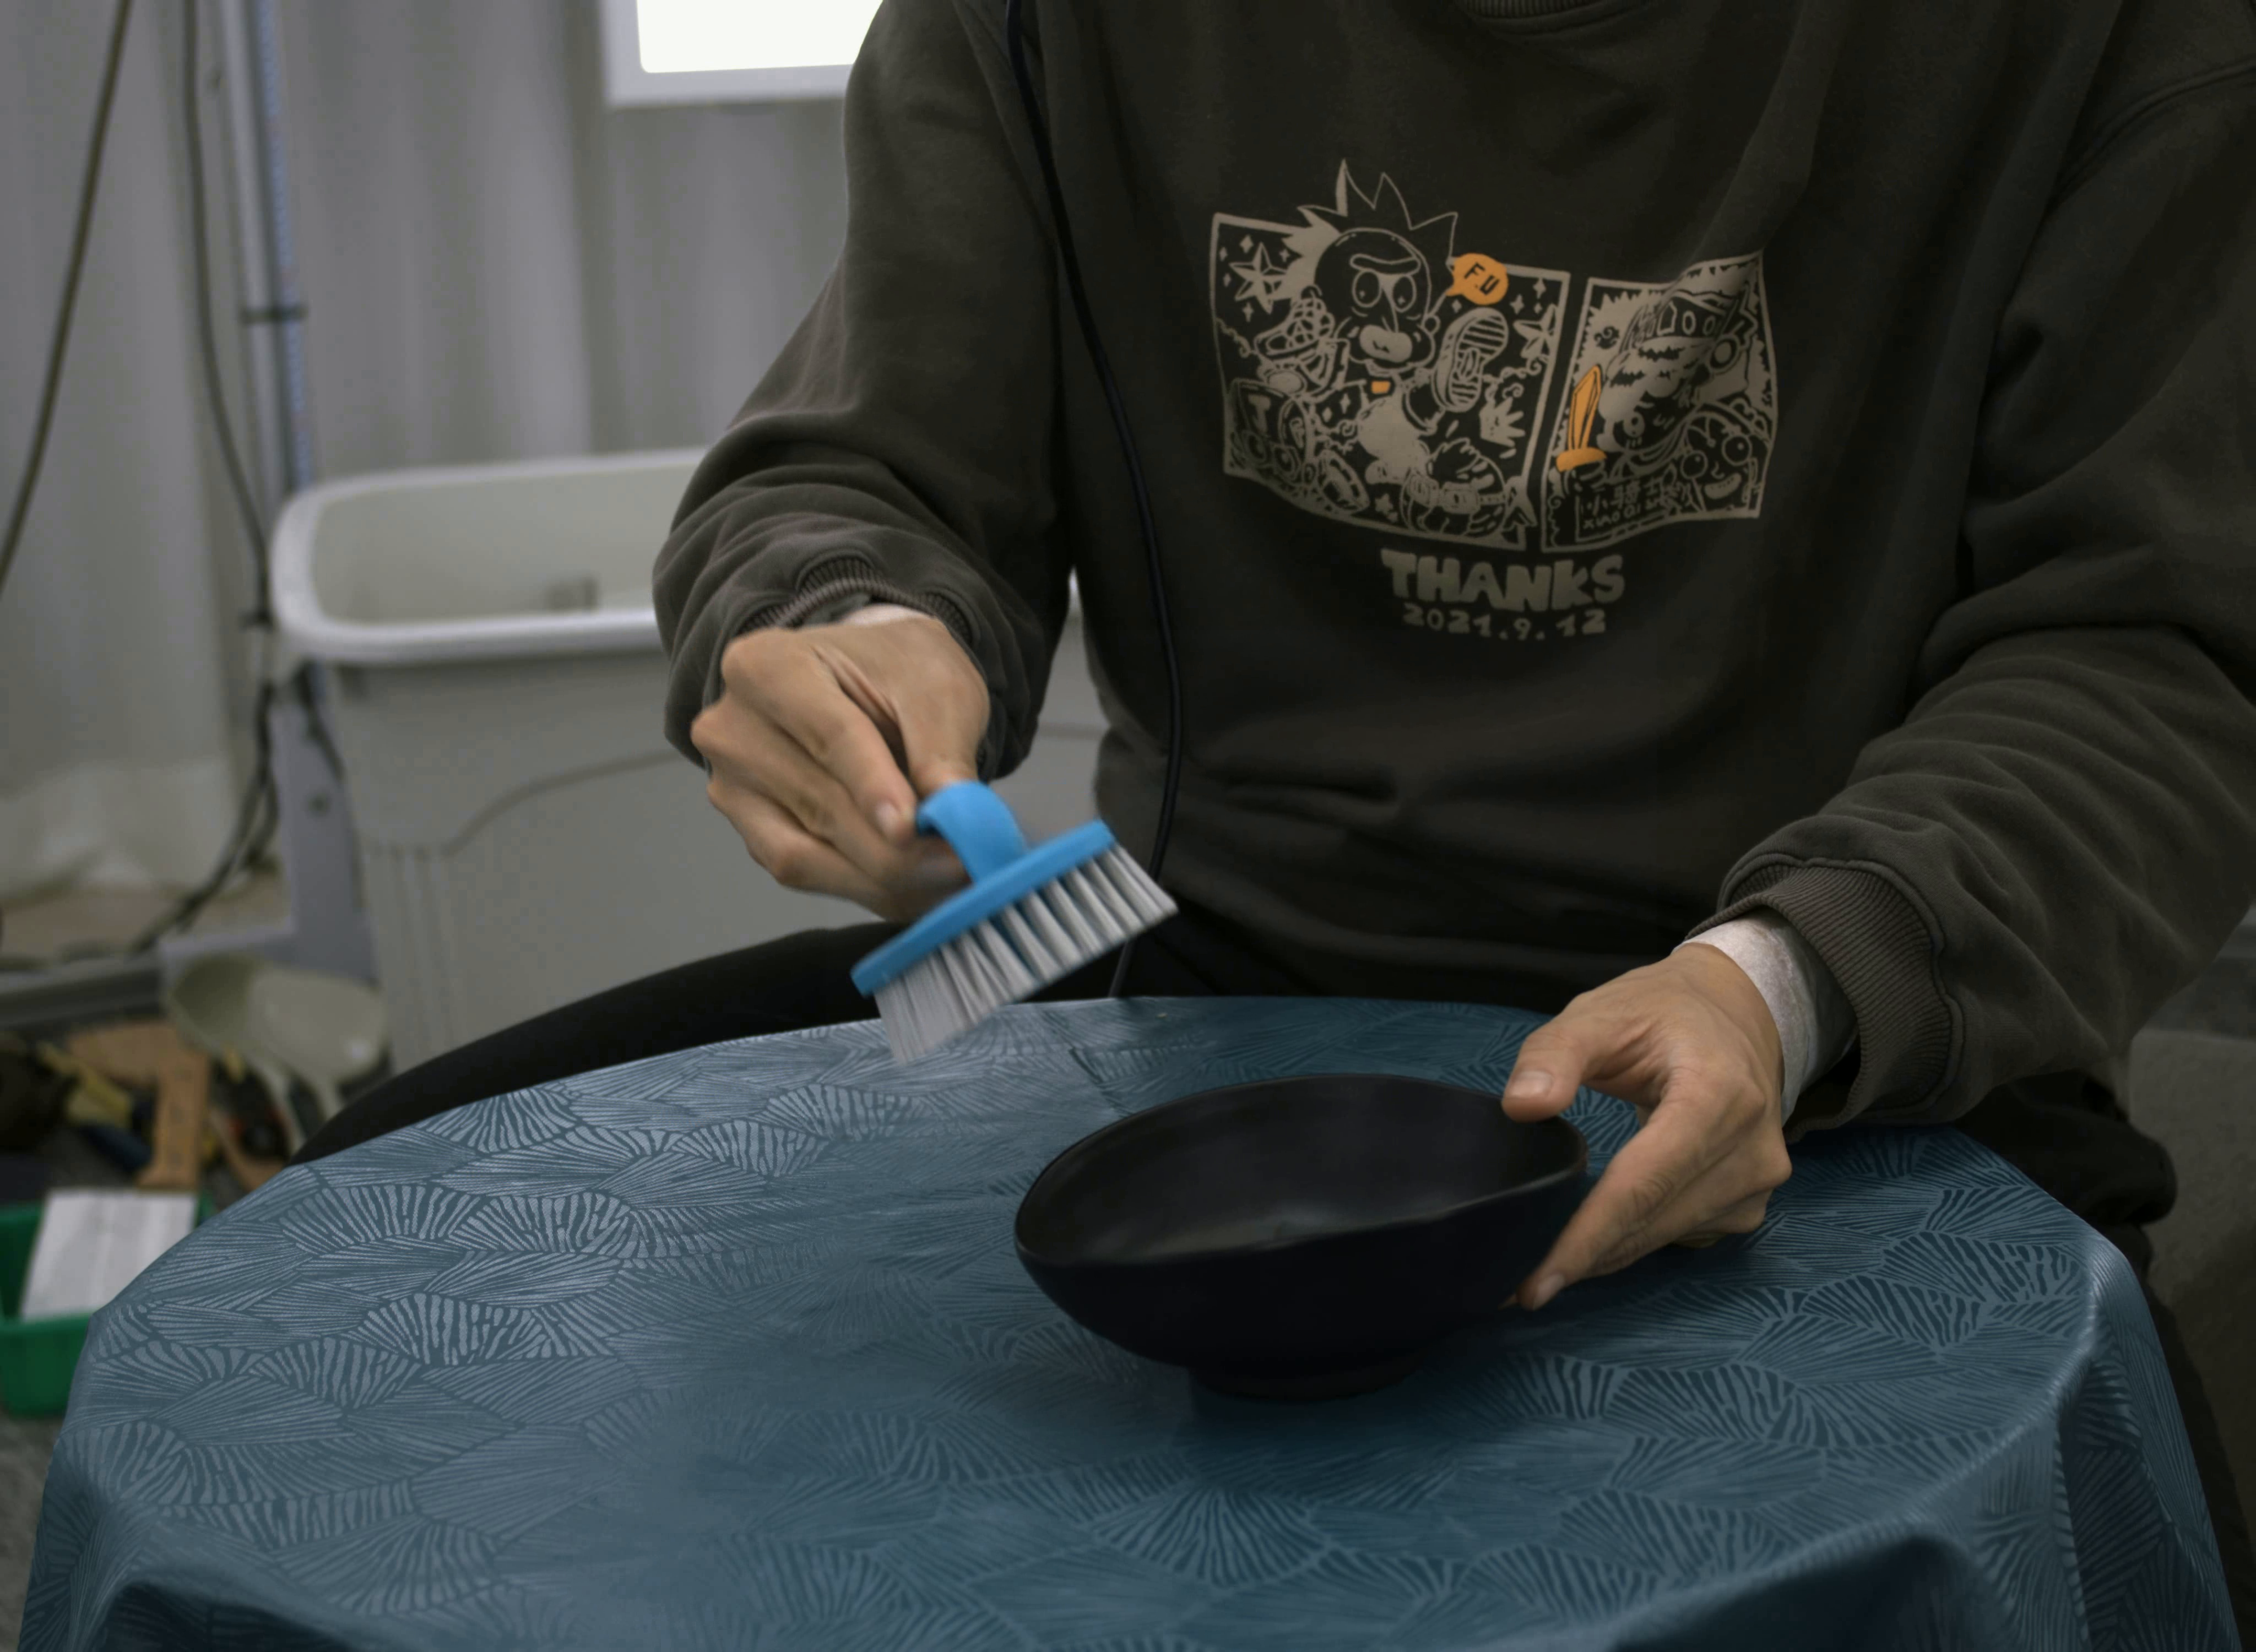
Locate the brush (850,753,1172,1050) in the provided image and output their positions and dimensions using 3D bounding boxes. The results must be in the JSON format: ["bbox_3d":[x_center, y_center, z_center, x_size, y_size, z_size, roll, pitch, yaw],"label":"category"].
[{"bbox_3d":[-0.043,0.014,1.581,0.084,0.064,0.141,-33,-2,-14],"label":"brush"}]

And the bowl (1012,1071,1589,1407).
[{"bbox_3d":[0.052,0.124,1.559,0.169,0.066,0.138,-11,16,-21],"label":"bowl"}]
